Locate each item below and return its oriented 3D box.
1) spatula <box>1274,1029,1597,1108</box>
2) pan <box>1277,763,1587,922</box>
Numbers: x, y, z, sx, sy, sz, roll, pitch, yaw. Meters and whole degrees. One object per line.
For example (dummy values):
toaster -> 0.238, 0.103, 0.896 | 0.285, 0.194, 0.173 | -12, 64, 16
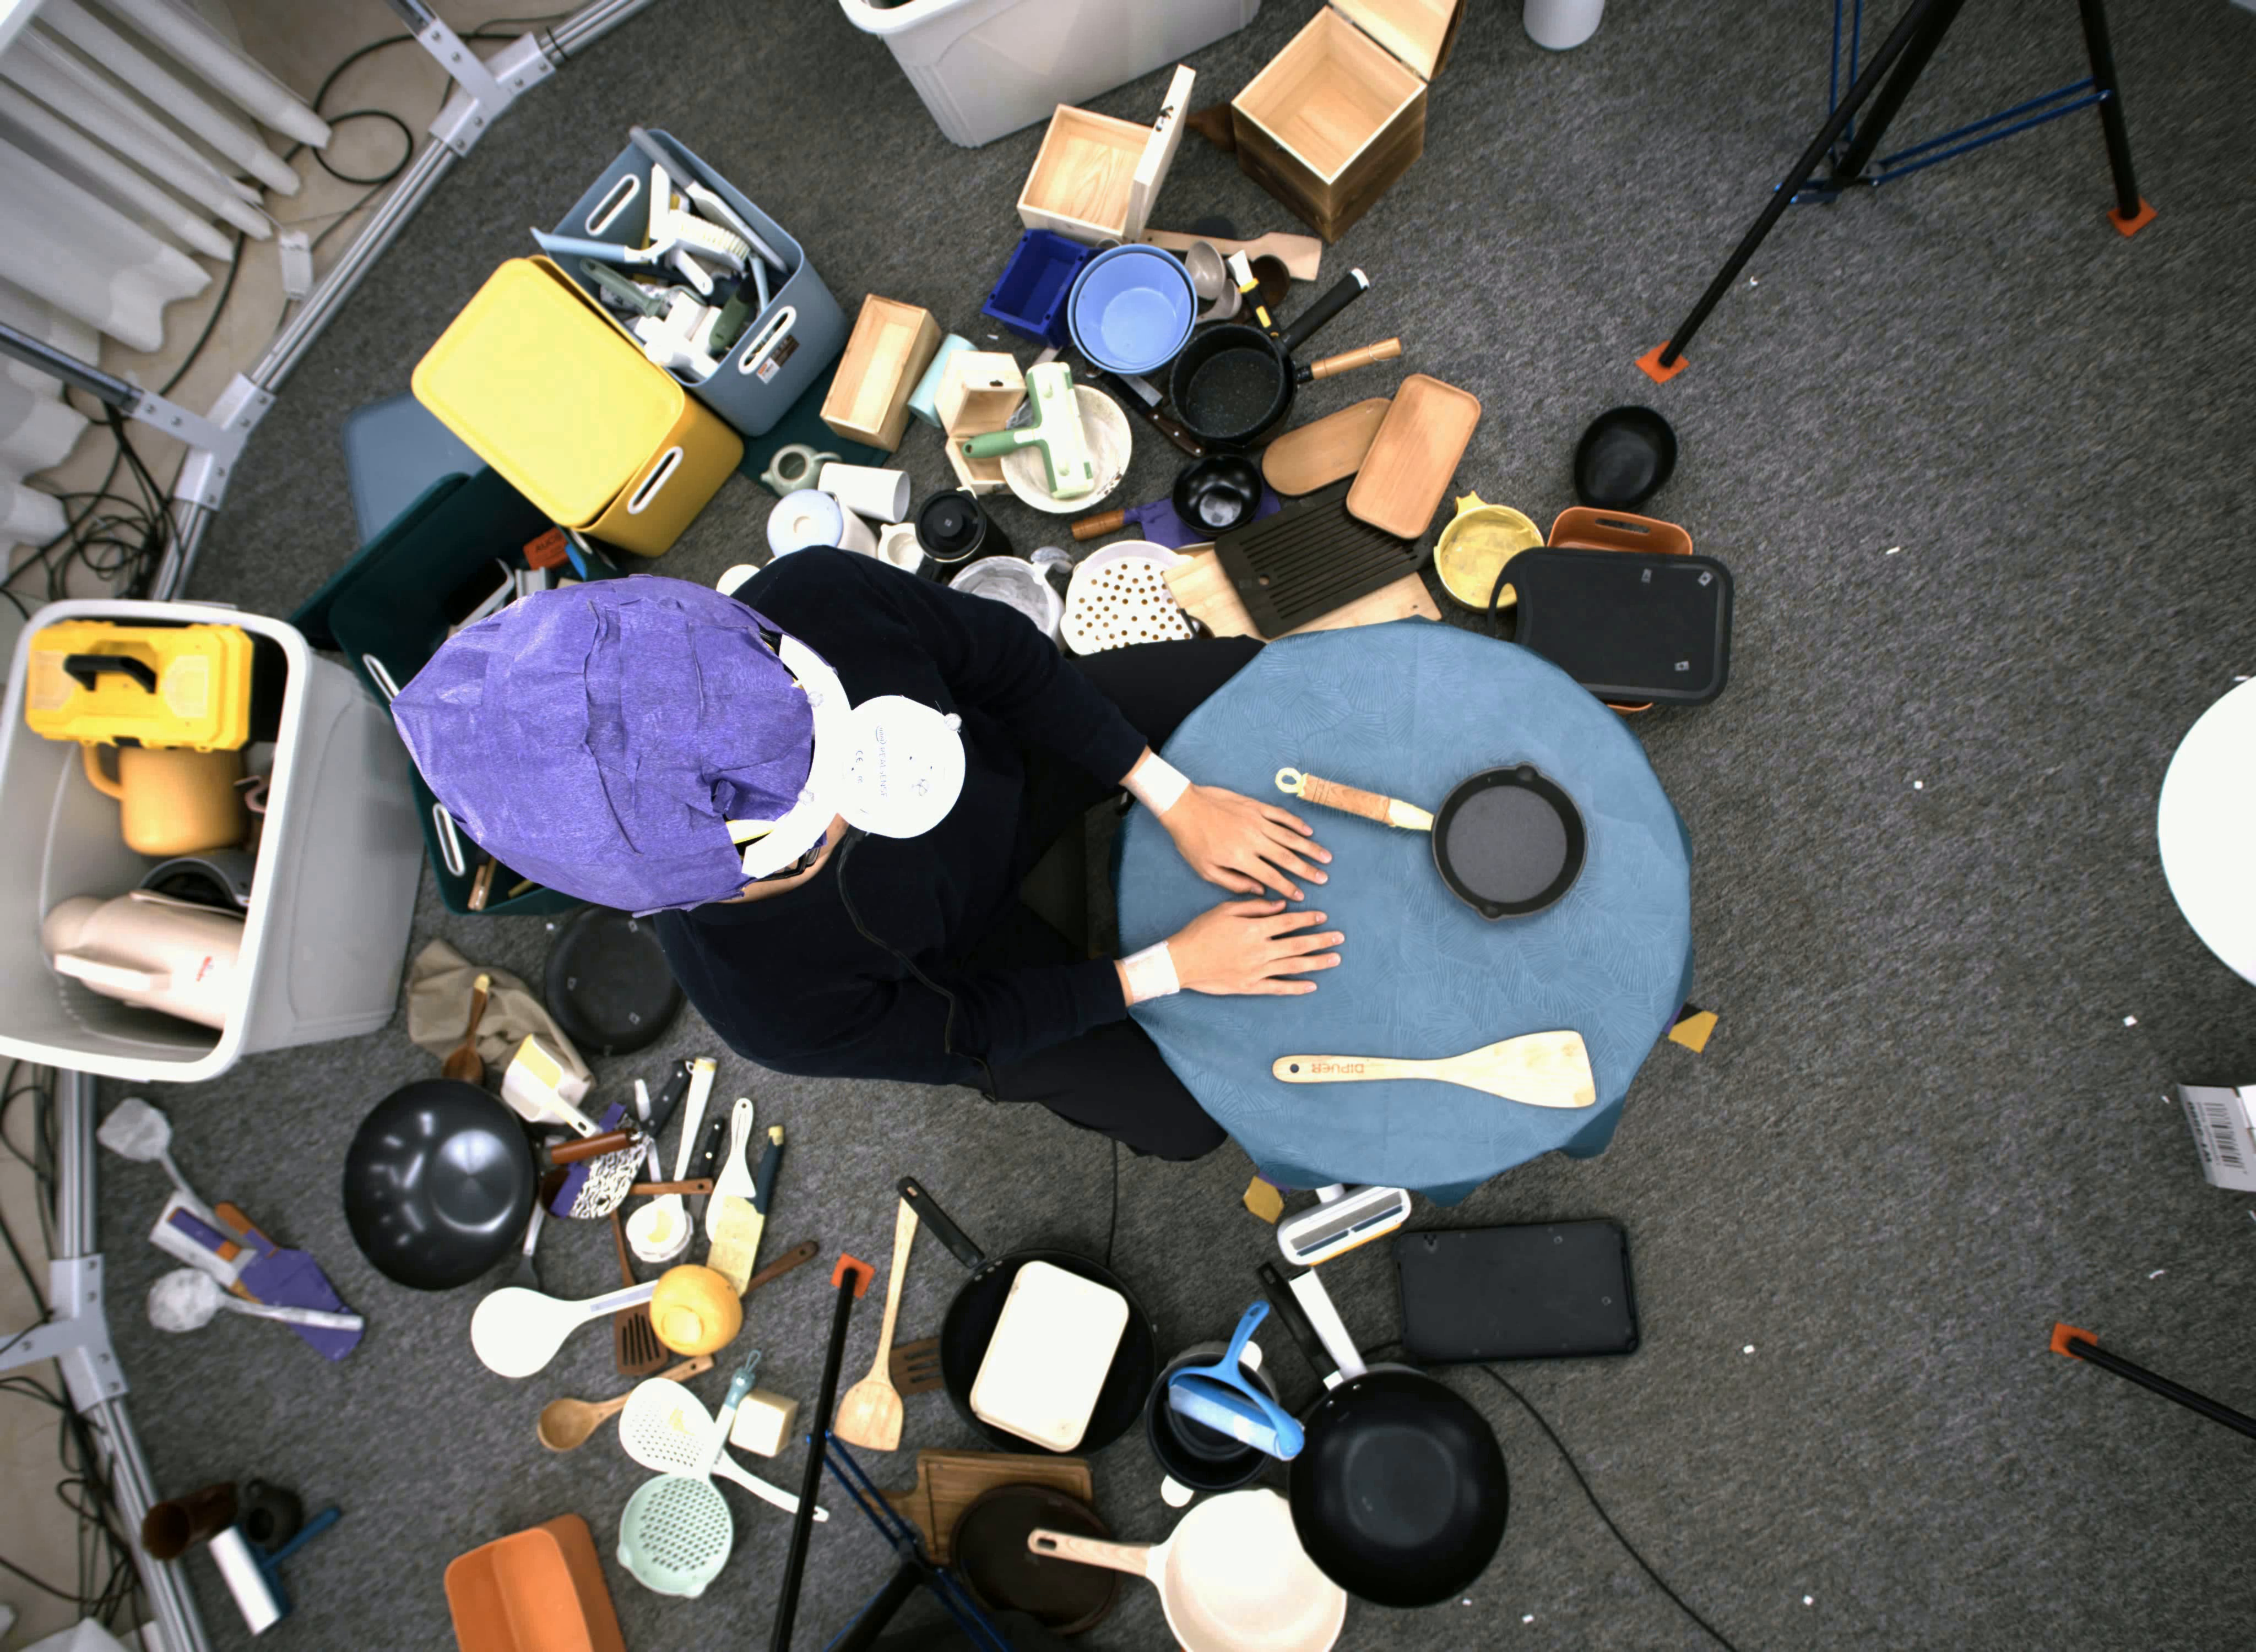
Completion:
spatula -> 0.316, 0.249, 1.433 | 0.329, 0.016, 0.079 | -2, 86, 10
pan -> 0.312, -0.009, 1.431 | 0.324, 0.049, 0.169 | 17, 90, 10
